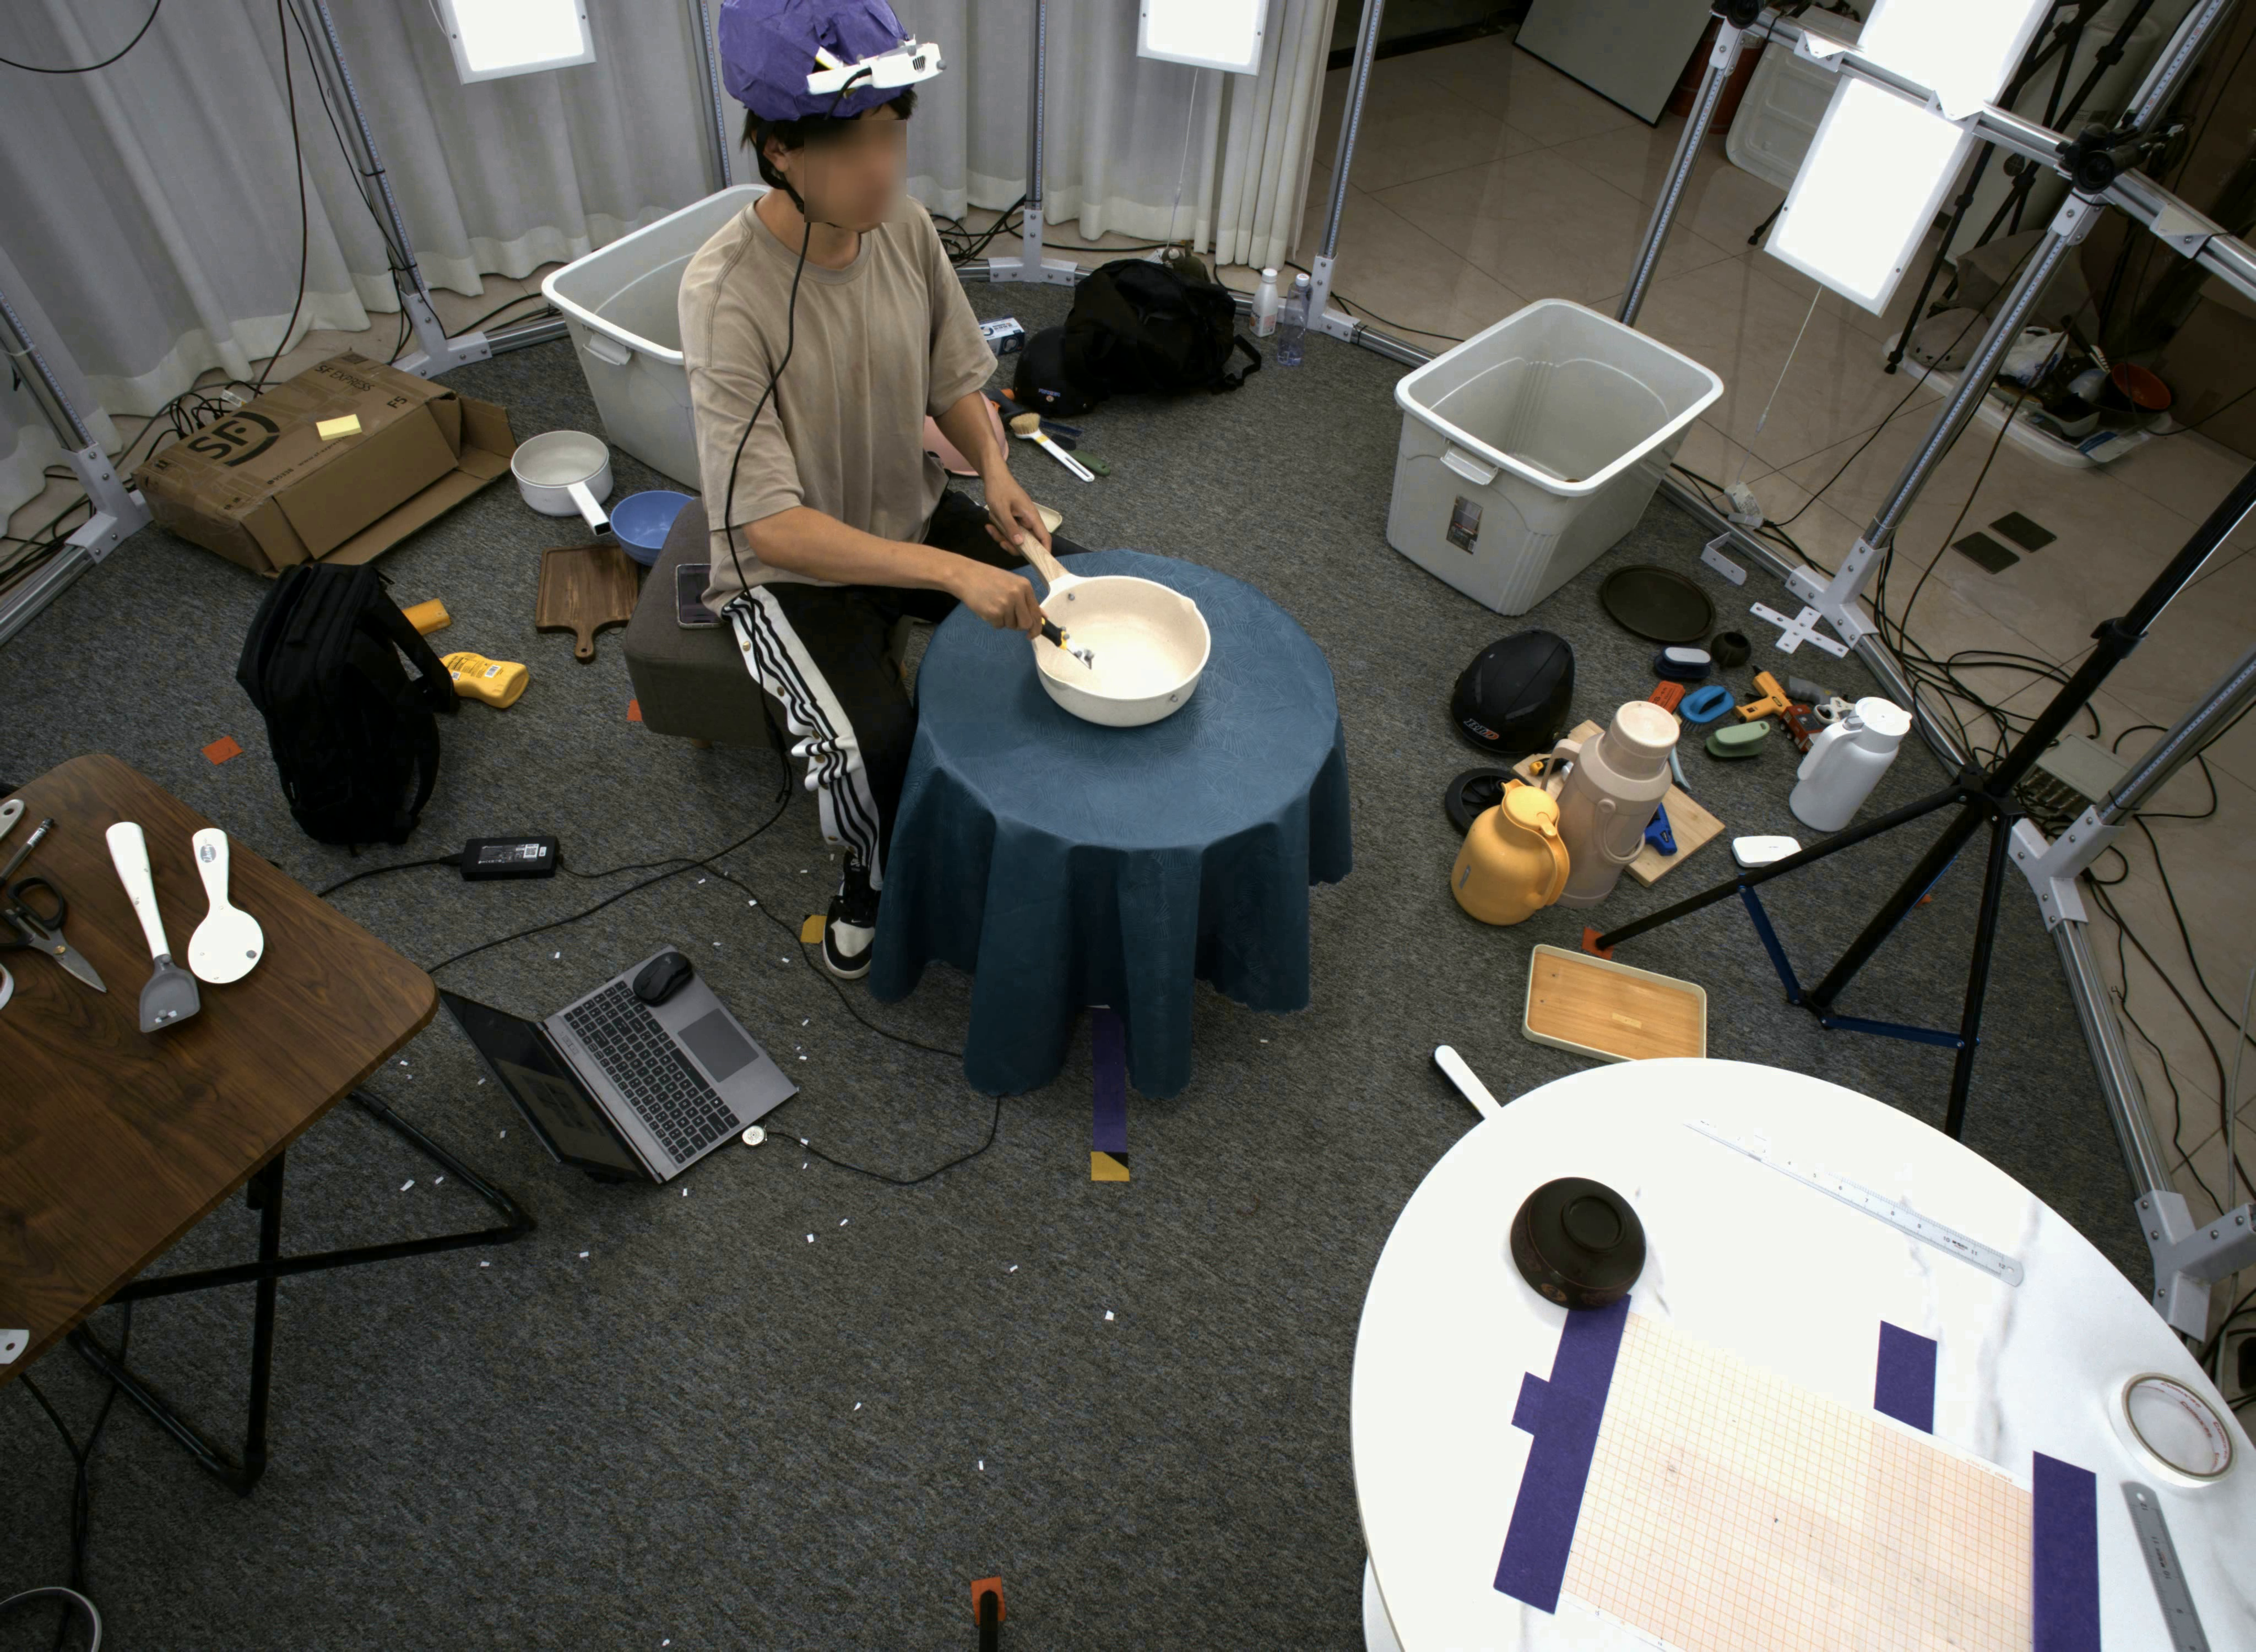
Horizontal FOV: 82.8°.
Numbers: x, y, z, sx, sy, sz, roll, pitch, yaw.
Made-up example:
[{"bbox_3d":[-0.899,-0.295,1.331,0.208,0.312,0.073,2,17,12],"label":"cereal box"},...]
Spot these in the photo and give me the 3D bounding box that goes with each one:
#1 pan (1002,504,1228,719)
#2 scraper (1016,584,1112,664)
[{"bbox_3d":[-0.044,-0.315,1.863,0.265,0.099,0.442,-30,57,-25],"label":"pan"},{"bbox_3d":[-0.085,-0.274,1.739,0.168,0.015,0.040,32,47,-34],"label":"scraper"}]
